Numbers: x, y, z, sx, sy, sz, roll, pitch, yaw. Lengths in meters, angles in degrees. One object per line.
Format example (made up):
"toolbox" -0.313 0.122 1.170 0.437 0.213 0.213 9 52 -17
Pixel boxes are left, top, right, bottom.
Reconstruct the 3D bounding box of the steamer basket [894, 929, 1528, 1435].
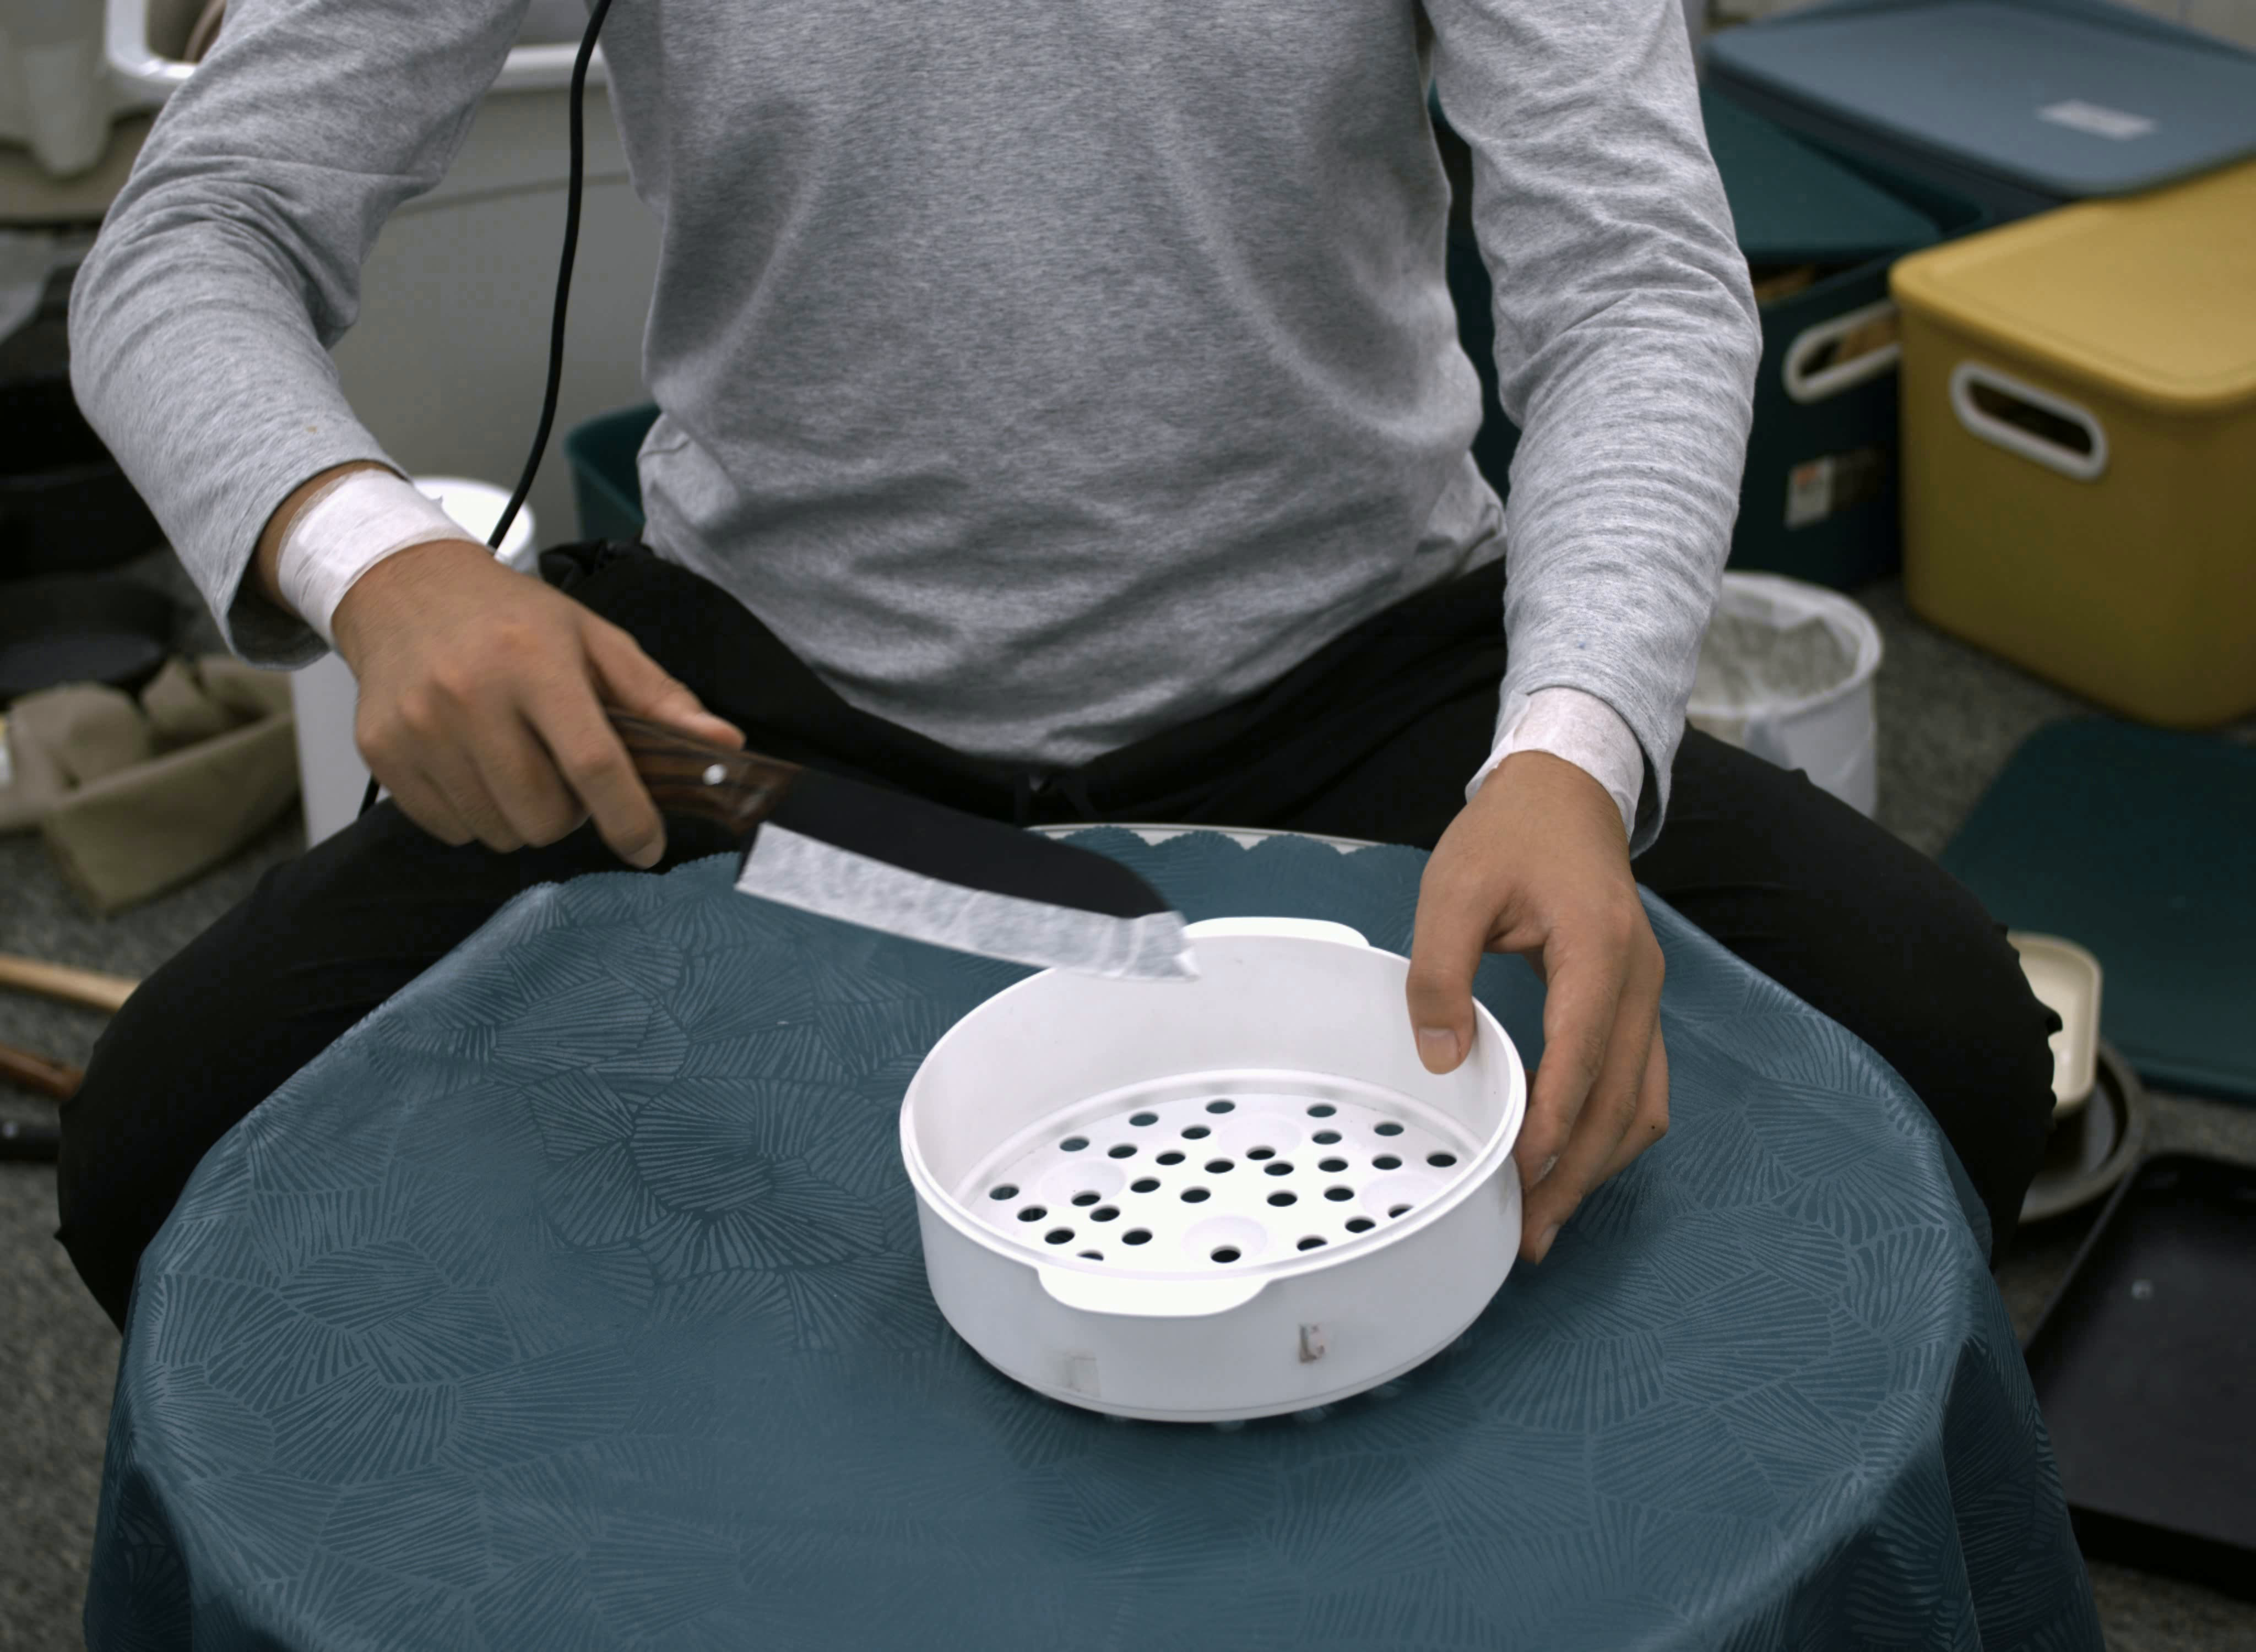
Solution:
"steamer basket" 0.028 0.115 1.793 0.200 0.068 0.234 2 29 12

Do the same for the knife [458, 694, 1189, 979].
"knife" -0.100 0.003 1.783 0.288 0.051 0.020 18 -11 30
